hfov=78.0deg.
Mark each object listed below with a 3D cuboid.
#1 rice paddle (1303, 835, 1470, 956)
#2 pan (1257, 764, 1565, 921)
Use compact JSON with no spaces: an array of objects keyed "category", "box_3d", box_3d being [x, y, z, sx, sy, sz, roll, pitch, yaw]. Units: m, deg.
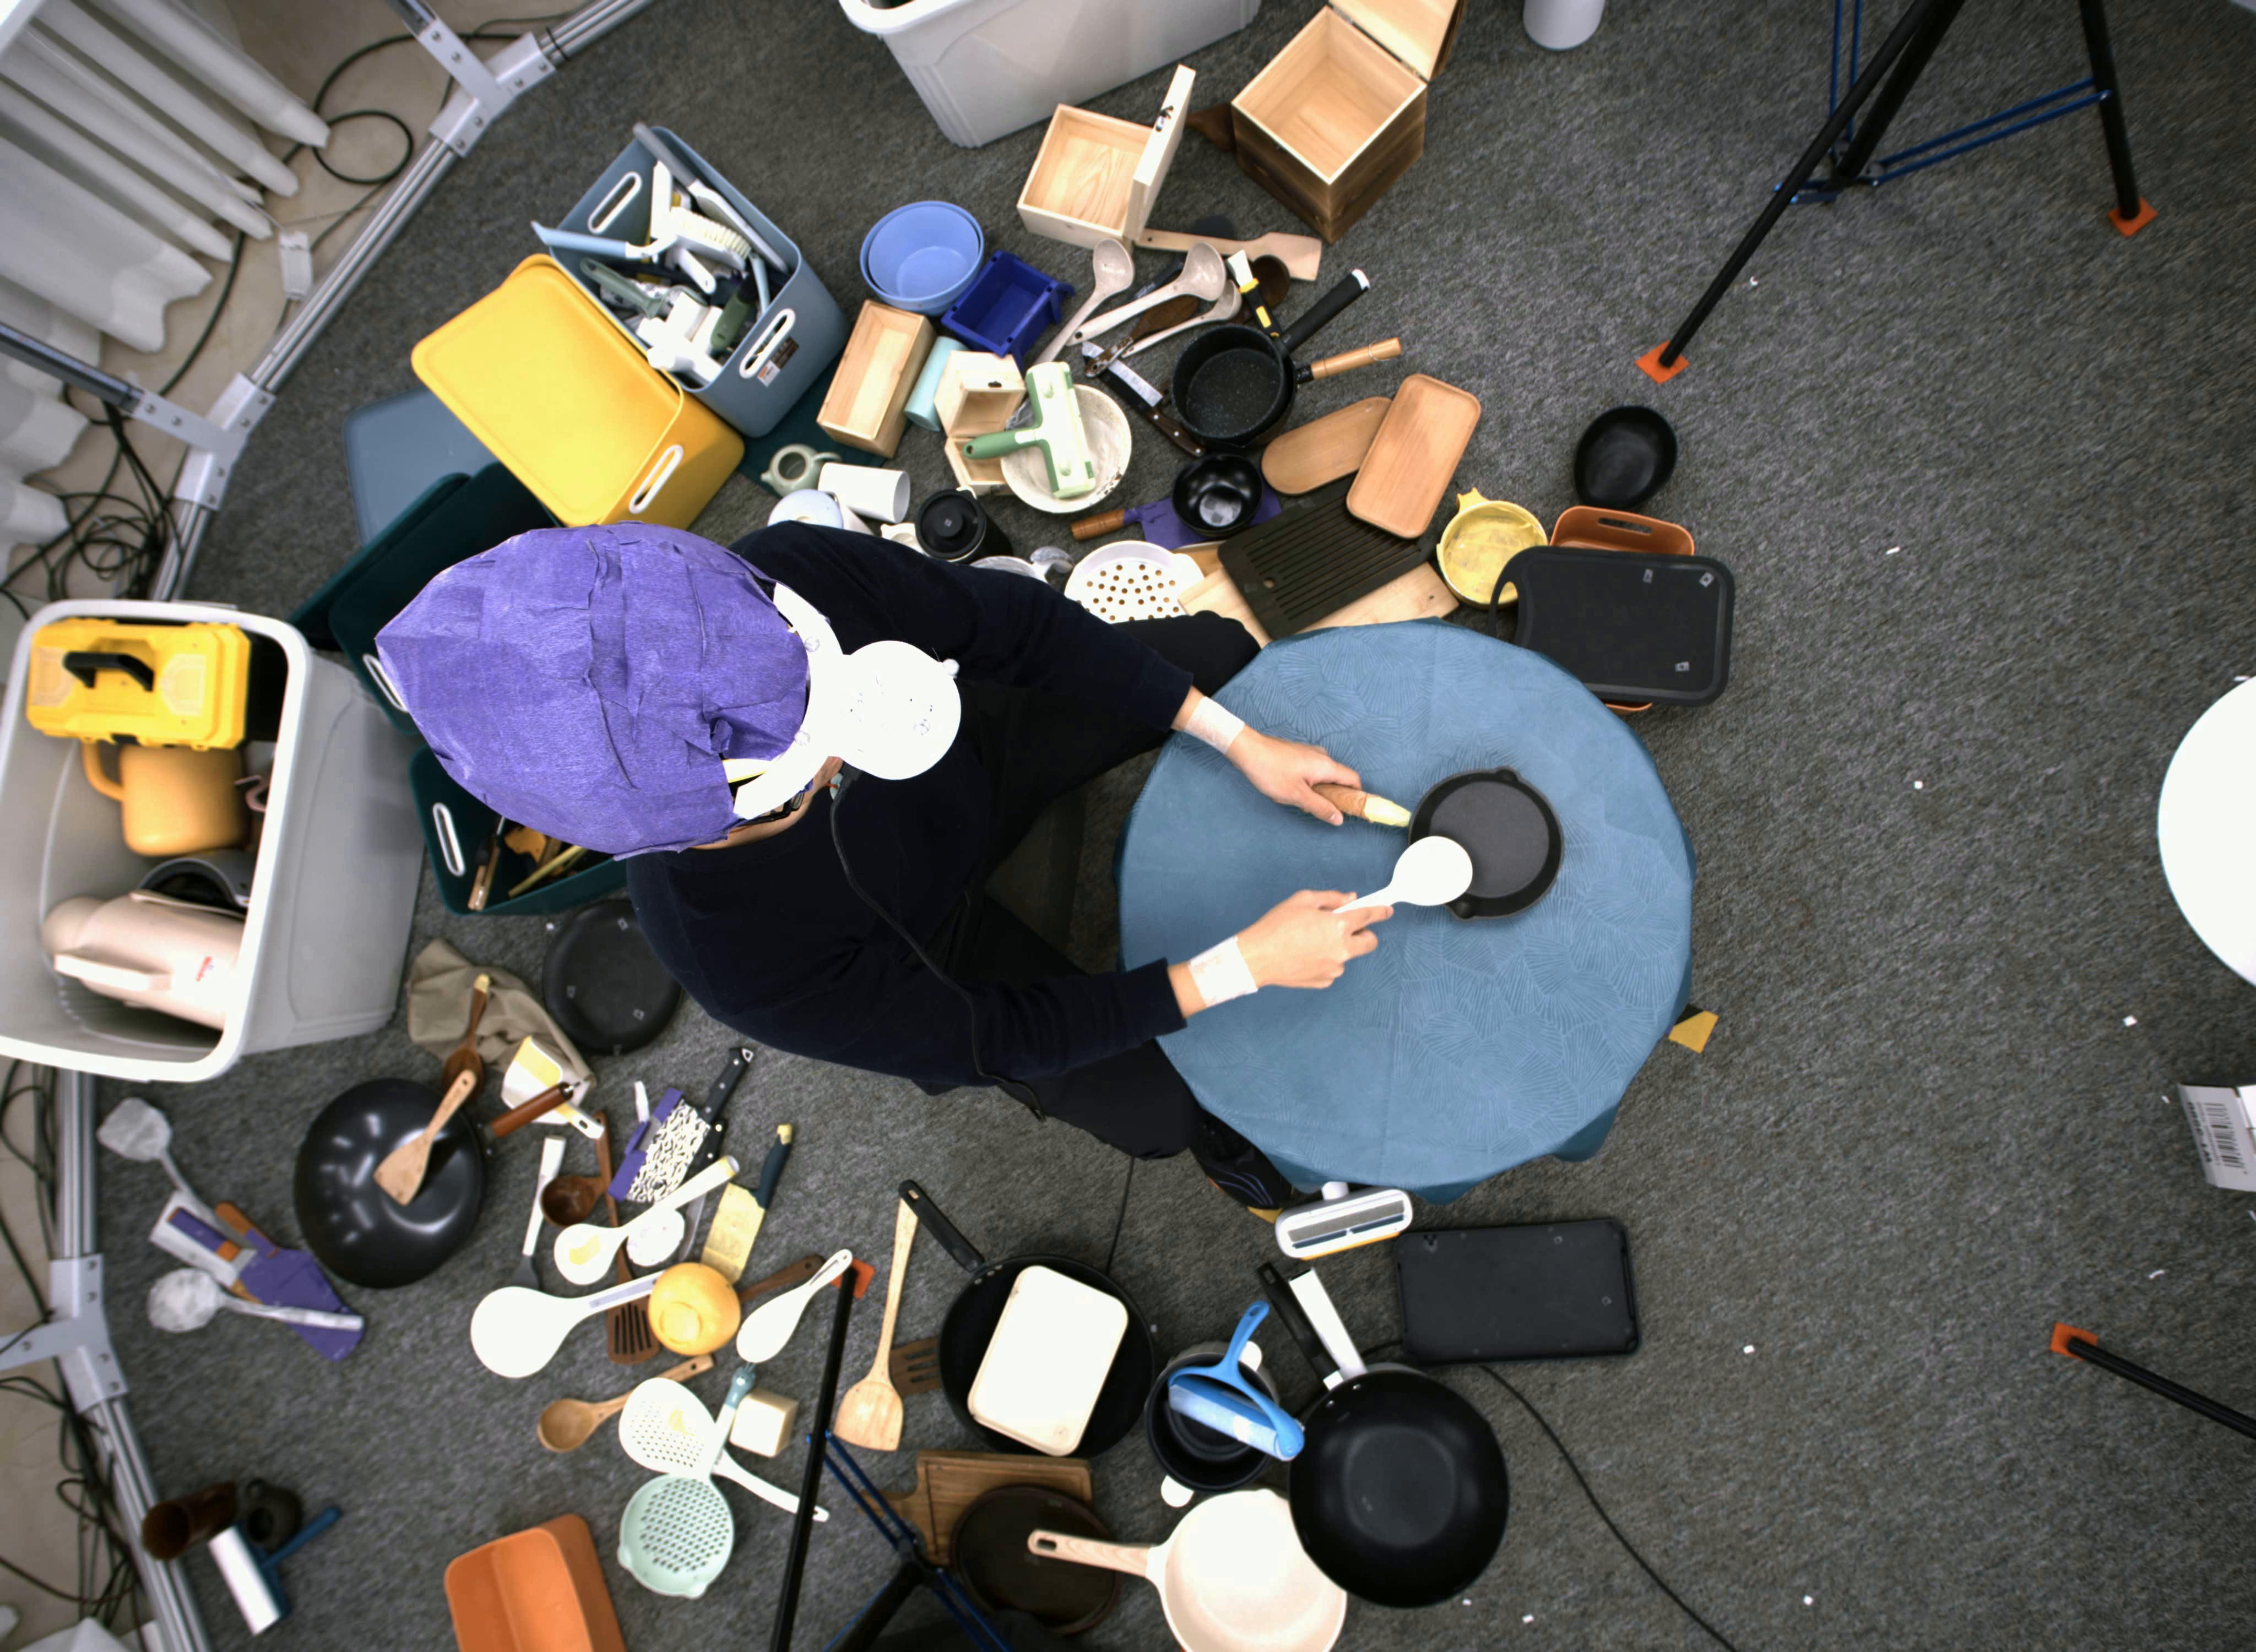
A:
[{"category":"rice paddle","box_3d":[0.262,0.067,1.374,0.203,0.030,0.068,-27,79,-21]},{"category":"pan","box_3d":[0.289,-0.013,1.425,0.324,0.049,0.171,20,110,15]}]
